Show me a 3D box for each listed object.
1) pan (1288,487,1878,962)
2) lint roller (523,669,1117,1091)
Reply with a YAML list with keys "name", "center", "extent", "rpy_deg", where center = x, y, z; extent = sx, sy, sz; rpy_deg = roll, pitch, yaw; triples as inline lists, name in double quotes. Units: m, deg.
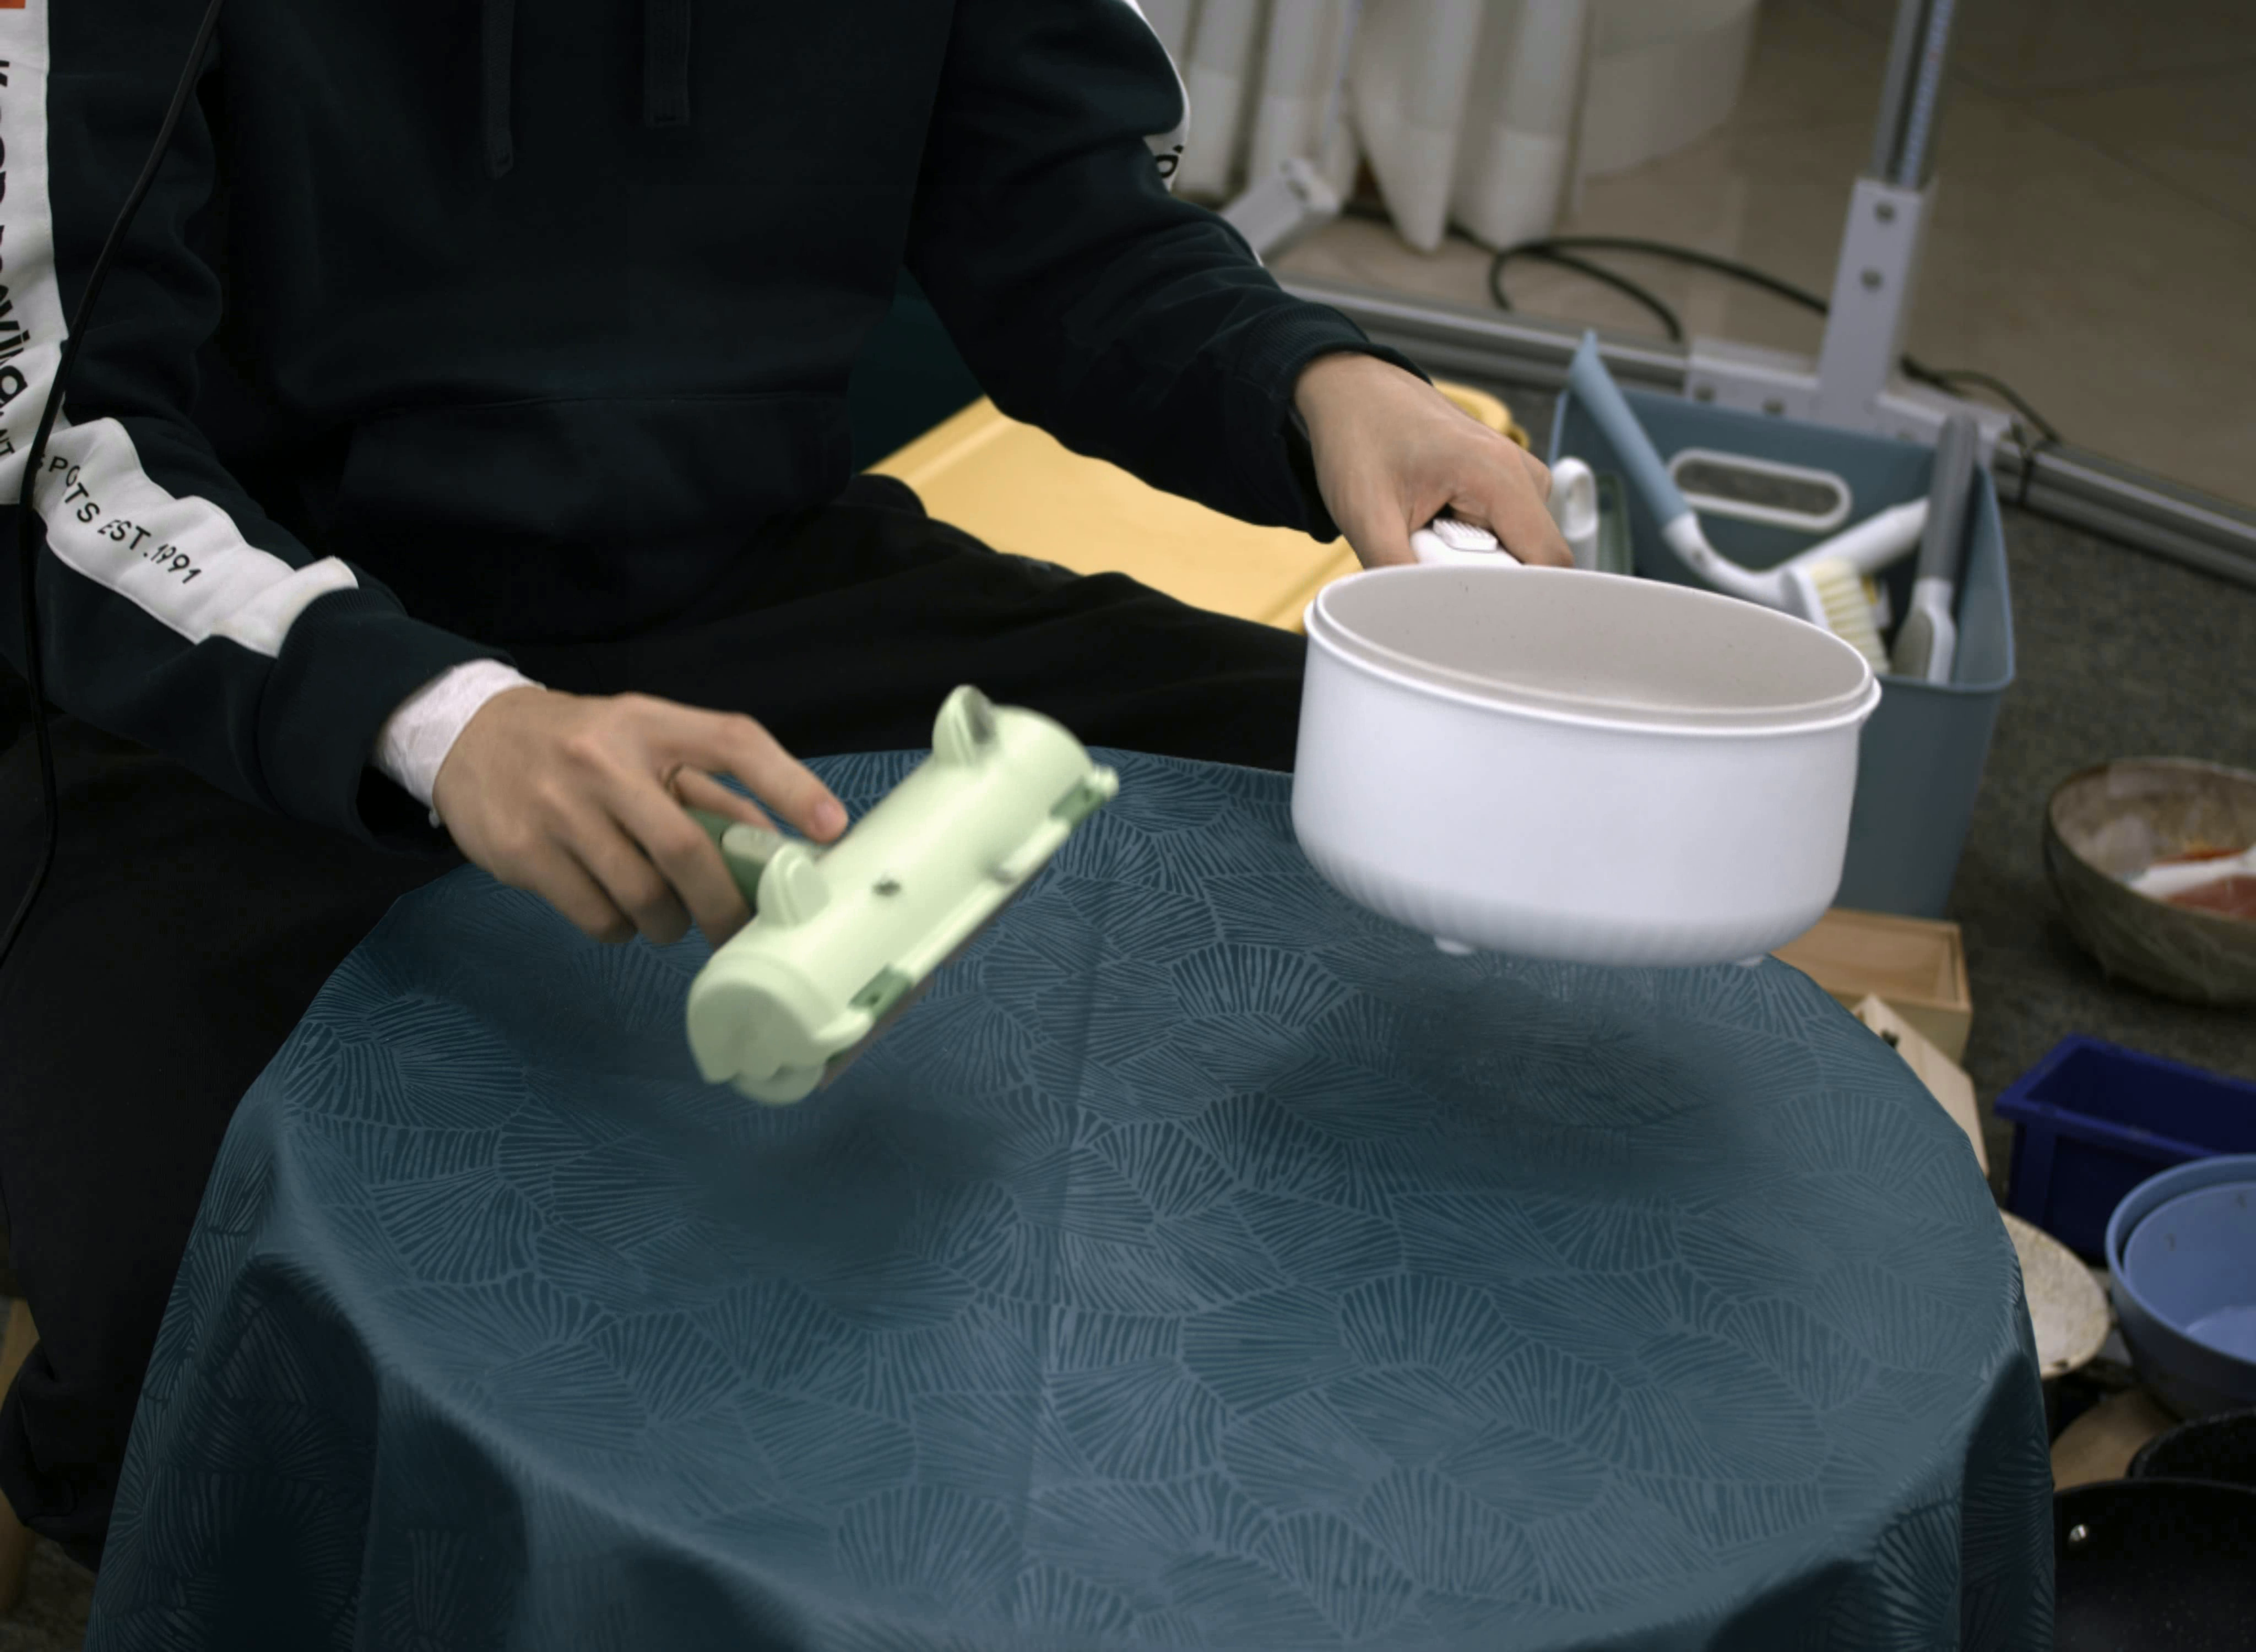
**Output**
- name: "pan"
  center: [0.138, -0.040, 1.925]
  extent: [0.200, 0.102, 0.357]
  rpy_deg: [3, 14, -13]
- name: "lint roller"
  center: [-0.125, -0.002, 1.787]
  extent: [0.184, 0.082, 0.198]
  rpy_deg: [17, 36, 21]
